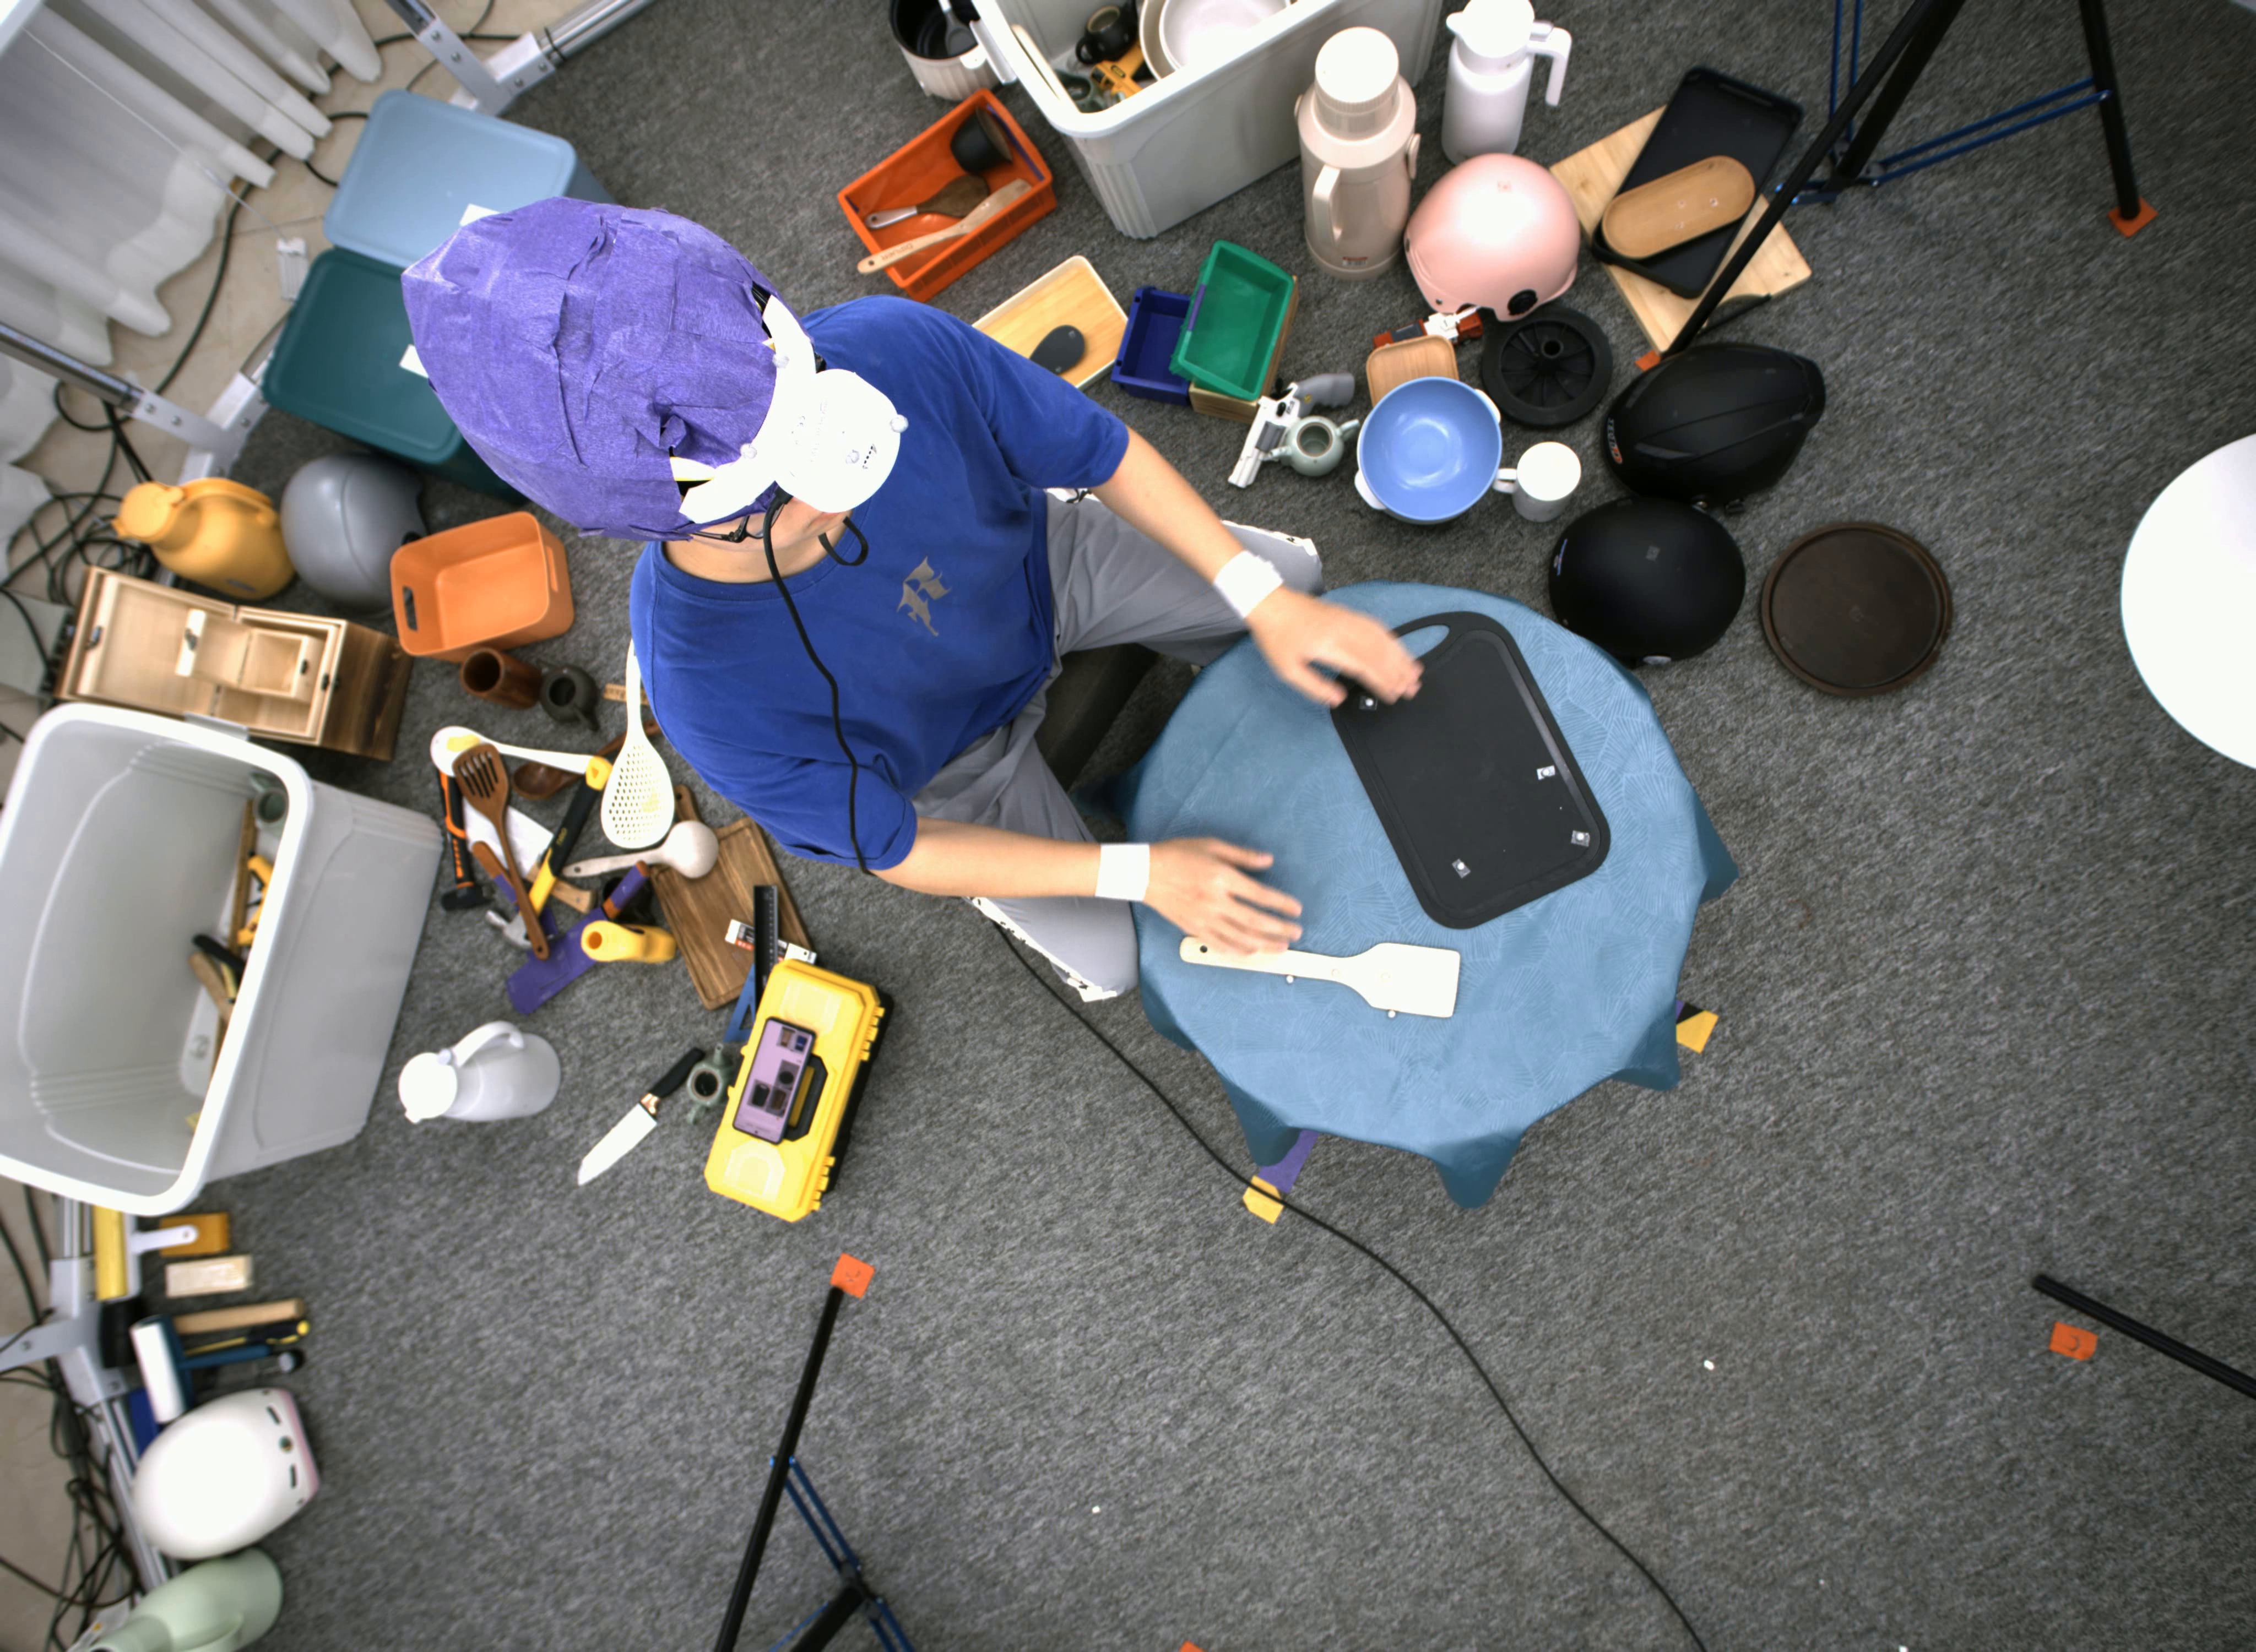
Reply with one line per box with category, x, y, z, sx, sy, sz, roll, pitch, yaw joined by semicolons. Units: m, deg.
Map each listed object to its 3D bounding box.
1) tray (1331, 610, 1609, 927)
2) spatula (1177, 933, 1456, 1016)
tray;0.353;-0.070;1.446;0.212;0.010;0.323;-24;83;8
spatula;0.195;0.146;1.464;0.294;0.010;0.072;7;89;11
